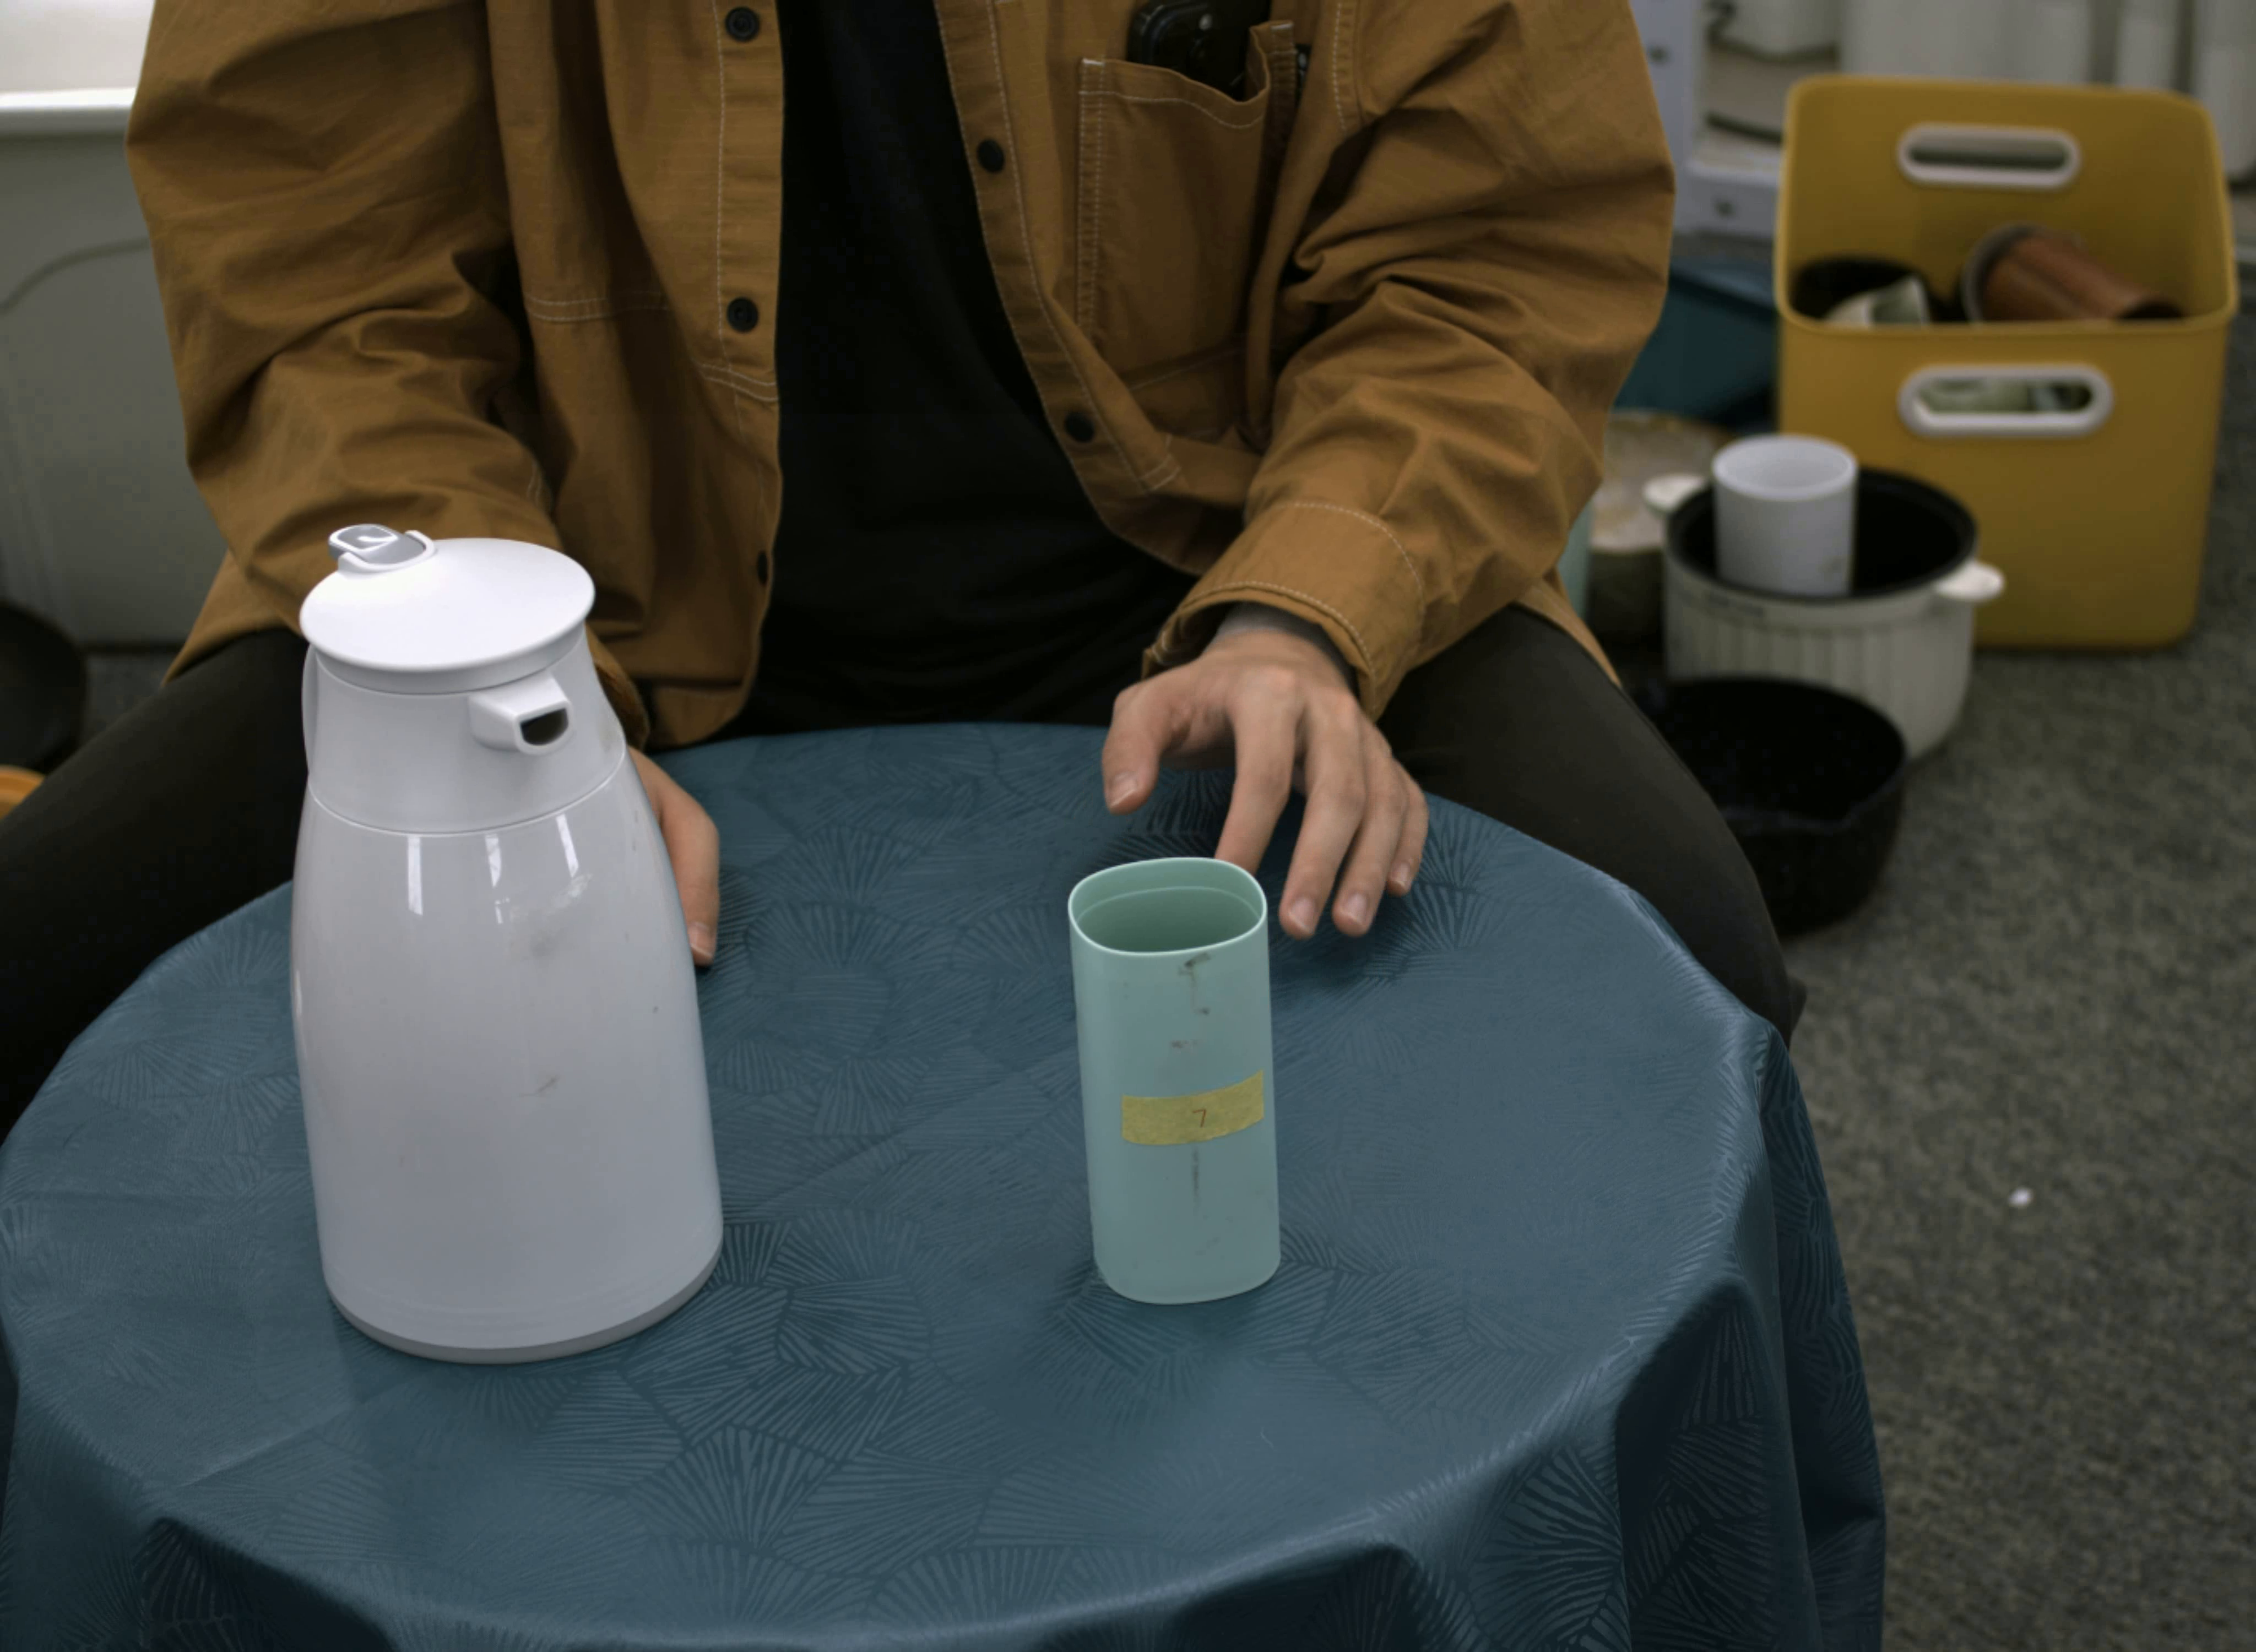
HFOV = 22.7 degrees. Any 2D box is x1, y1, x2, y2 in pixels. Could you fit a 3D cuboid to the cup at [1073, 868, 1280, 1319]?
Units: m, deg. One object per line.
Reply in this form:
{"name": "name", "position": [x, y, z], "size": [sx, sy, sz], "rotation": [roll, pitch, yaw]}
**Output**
{"name": "cup", "position": [0.016, 0.085, 1.795], "size": [0.066, 0.131, 0.068], "rotation": [-2, 26, 1]}

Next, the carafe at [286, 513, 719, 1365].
{"name": "carafe", "position": [-0.216, 0.026, 1.800], "size": [0.133, 0.246, 0.168], "rotation": [-19, 30, -29]}
